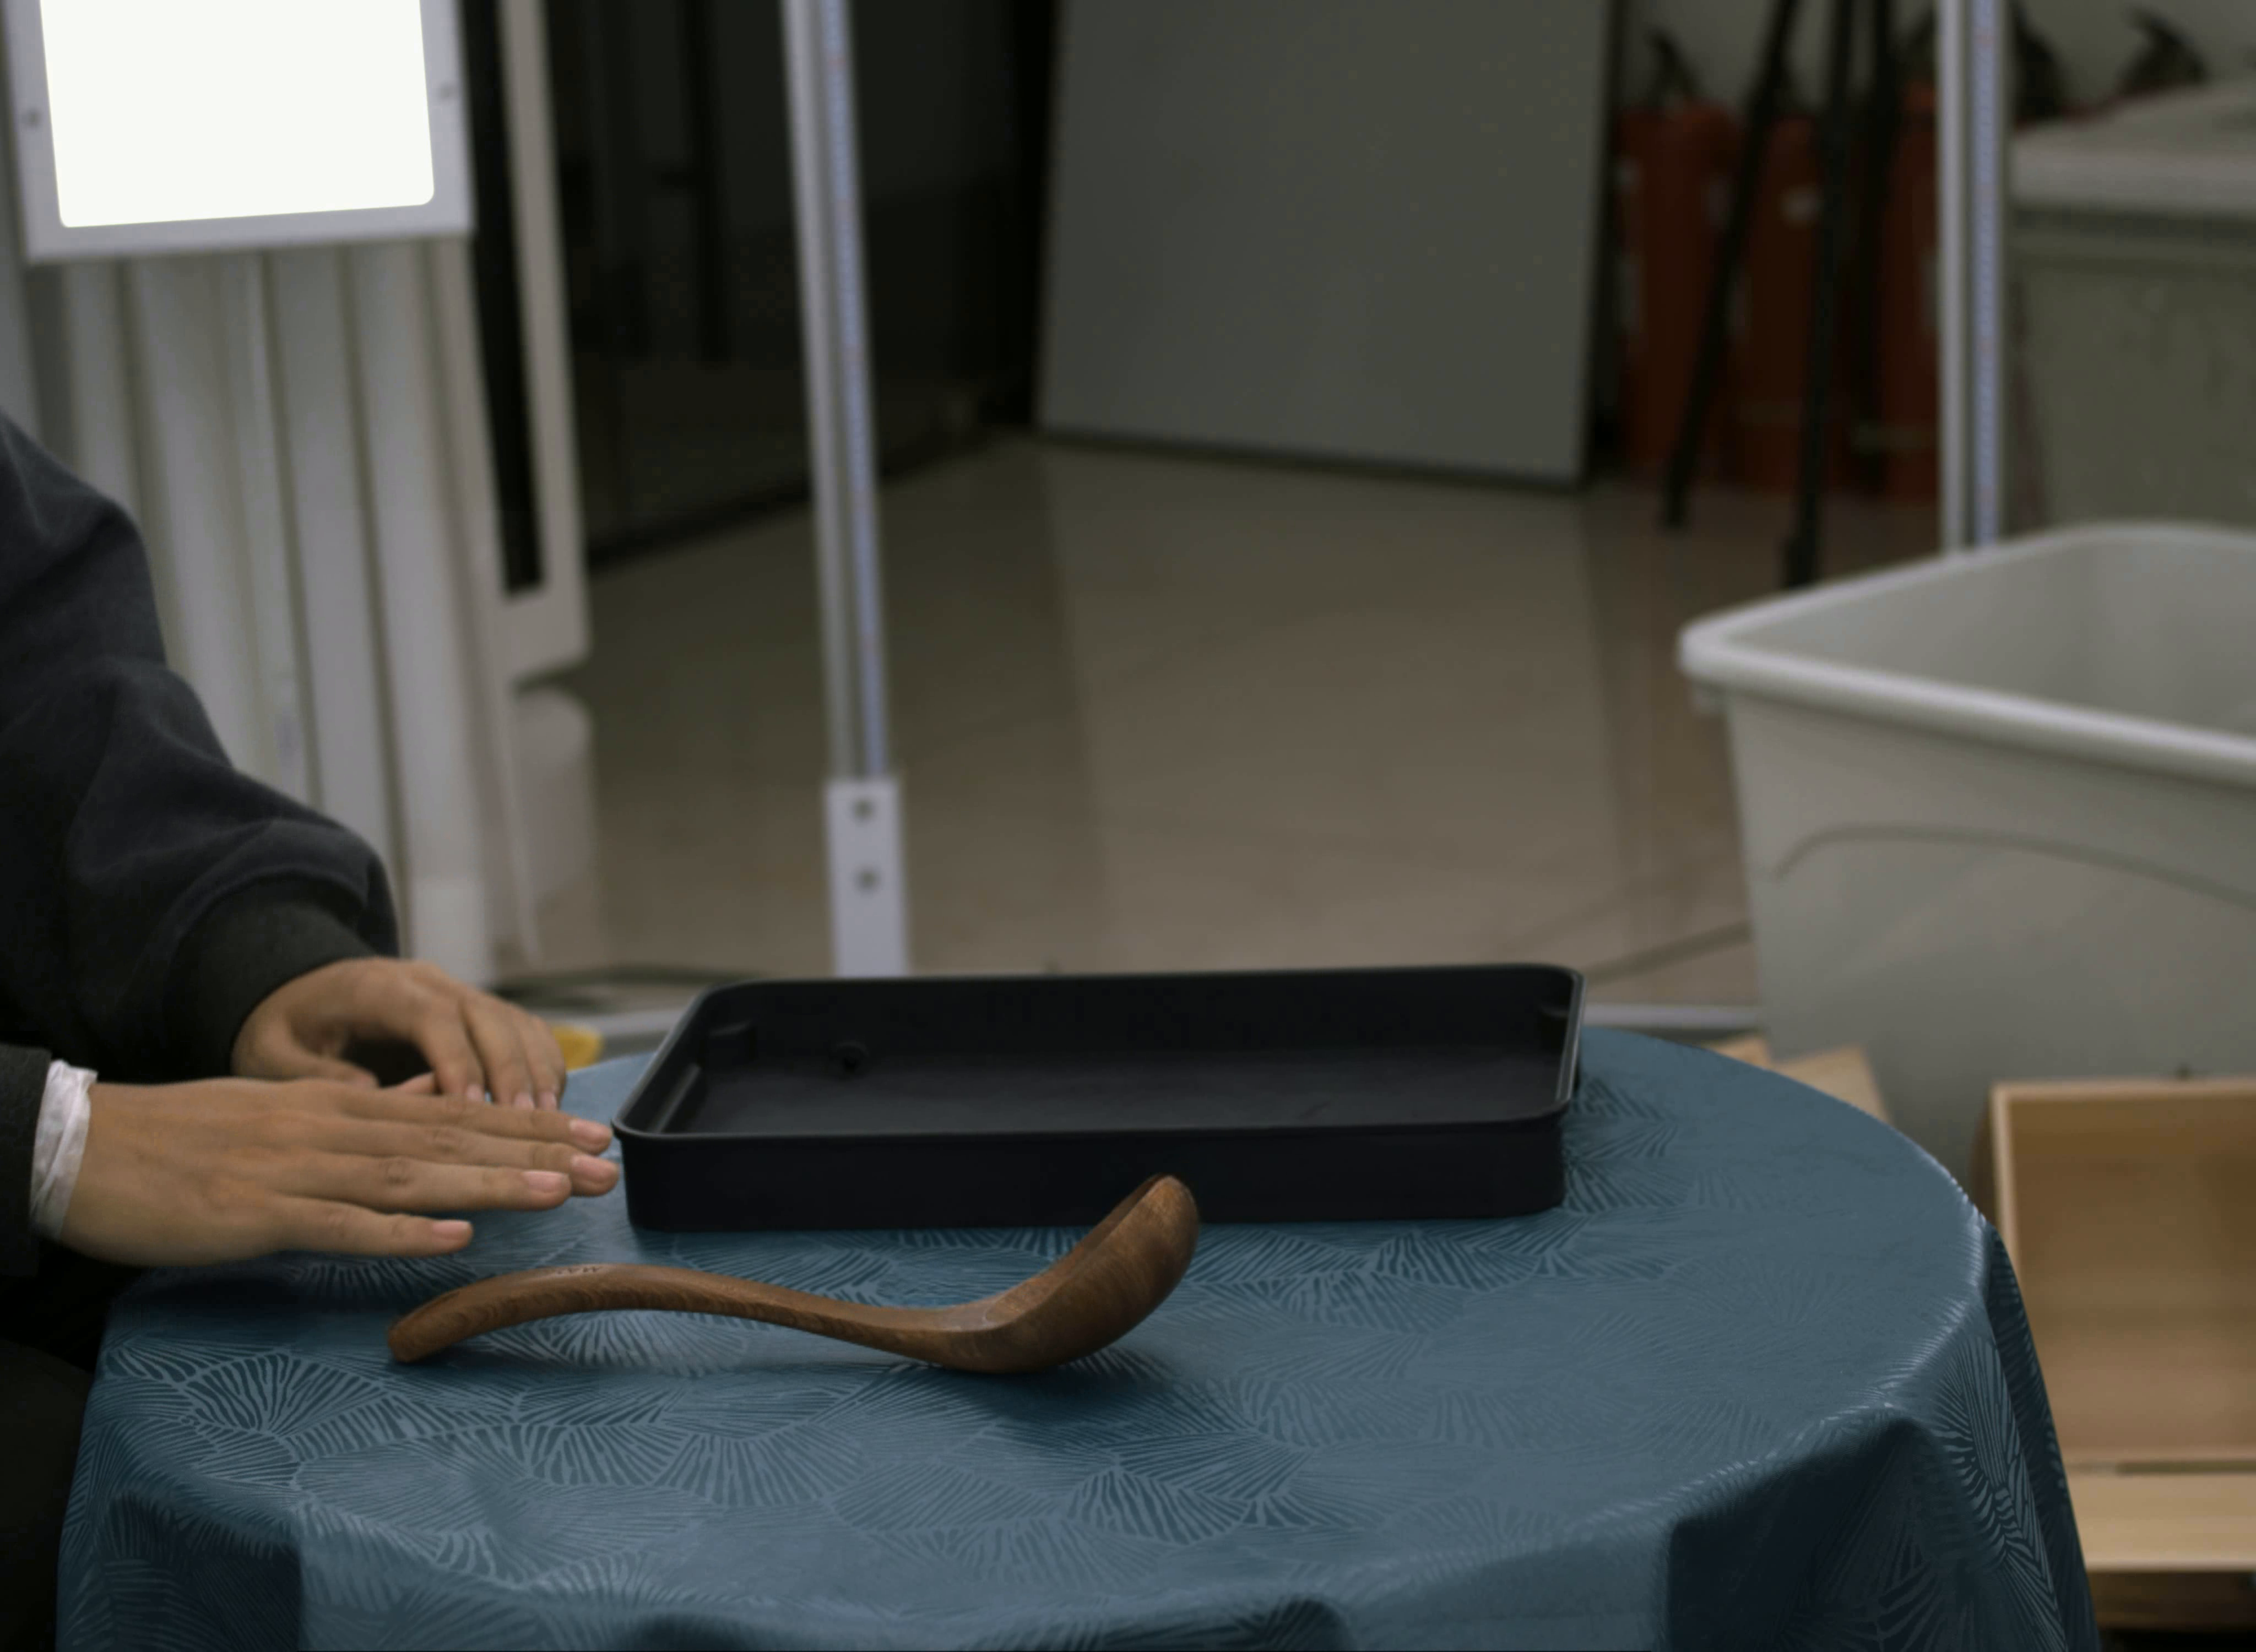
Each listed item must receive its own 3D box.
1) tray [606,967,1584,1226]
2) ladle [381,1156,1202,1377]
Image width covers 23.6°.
[{"bbox_3d":[-0.006,0.089,1.816,0.315,0.037,0.184,-1,14,9],"label":"tray"},{"bbox_3d":[-0.103,0.131,1.620,0.259,0.066,0.076,0,9,15],"label":"ladle"}]
